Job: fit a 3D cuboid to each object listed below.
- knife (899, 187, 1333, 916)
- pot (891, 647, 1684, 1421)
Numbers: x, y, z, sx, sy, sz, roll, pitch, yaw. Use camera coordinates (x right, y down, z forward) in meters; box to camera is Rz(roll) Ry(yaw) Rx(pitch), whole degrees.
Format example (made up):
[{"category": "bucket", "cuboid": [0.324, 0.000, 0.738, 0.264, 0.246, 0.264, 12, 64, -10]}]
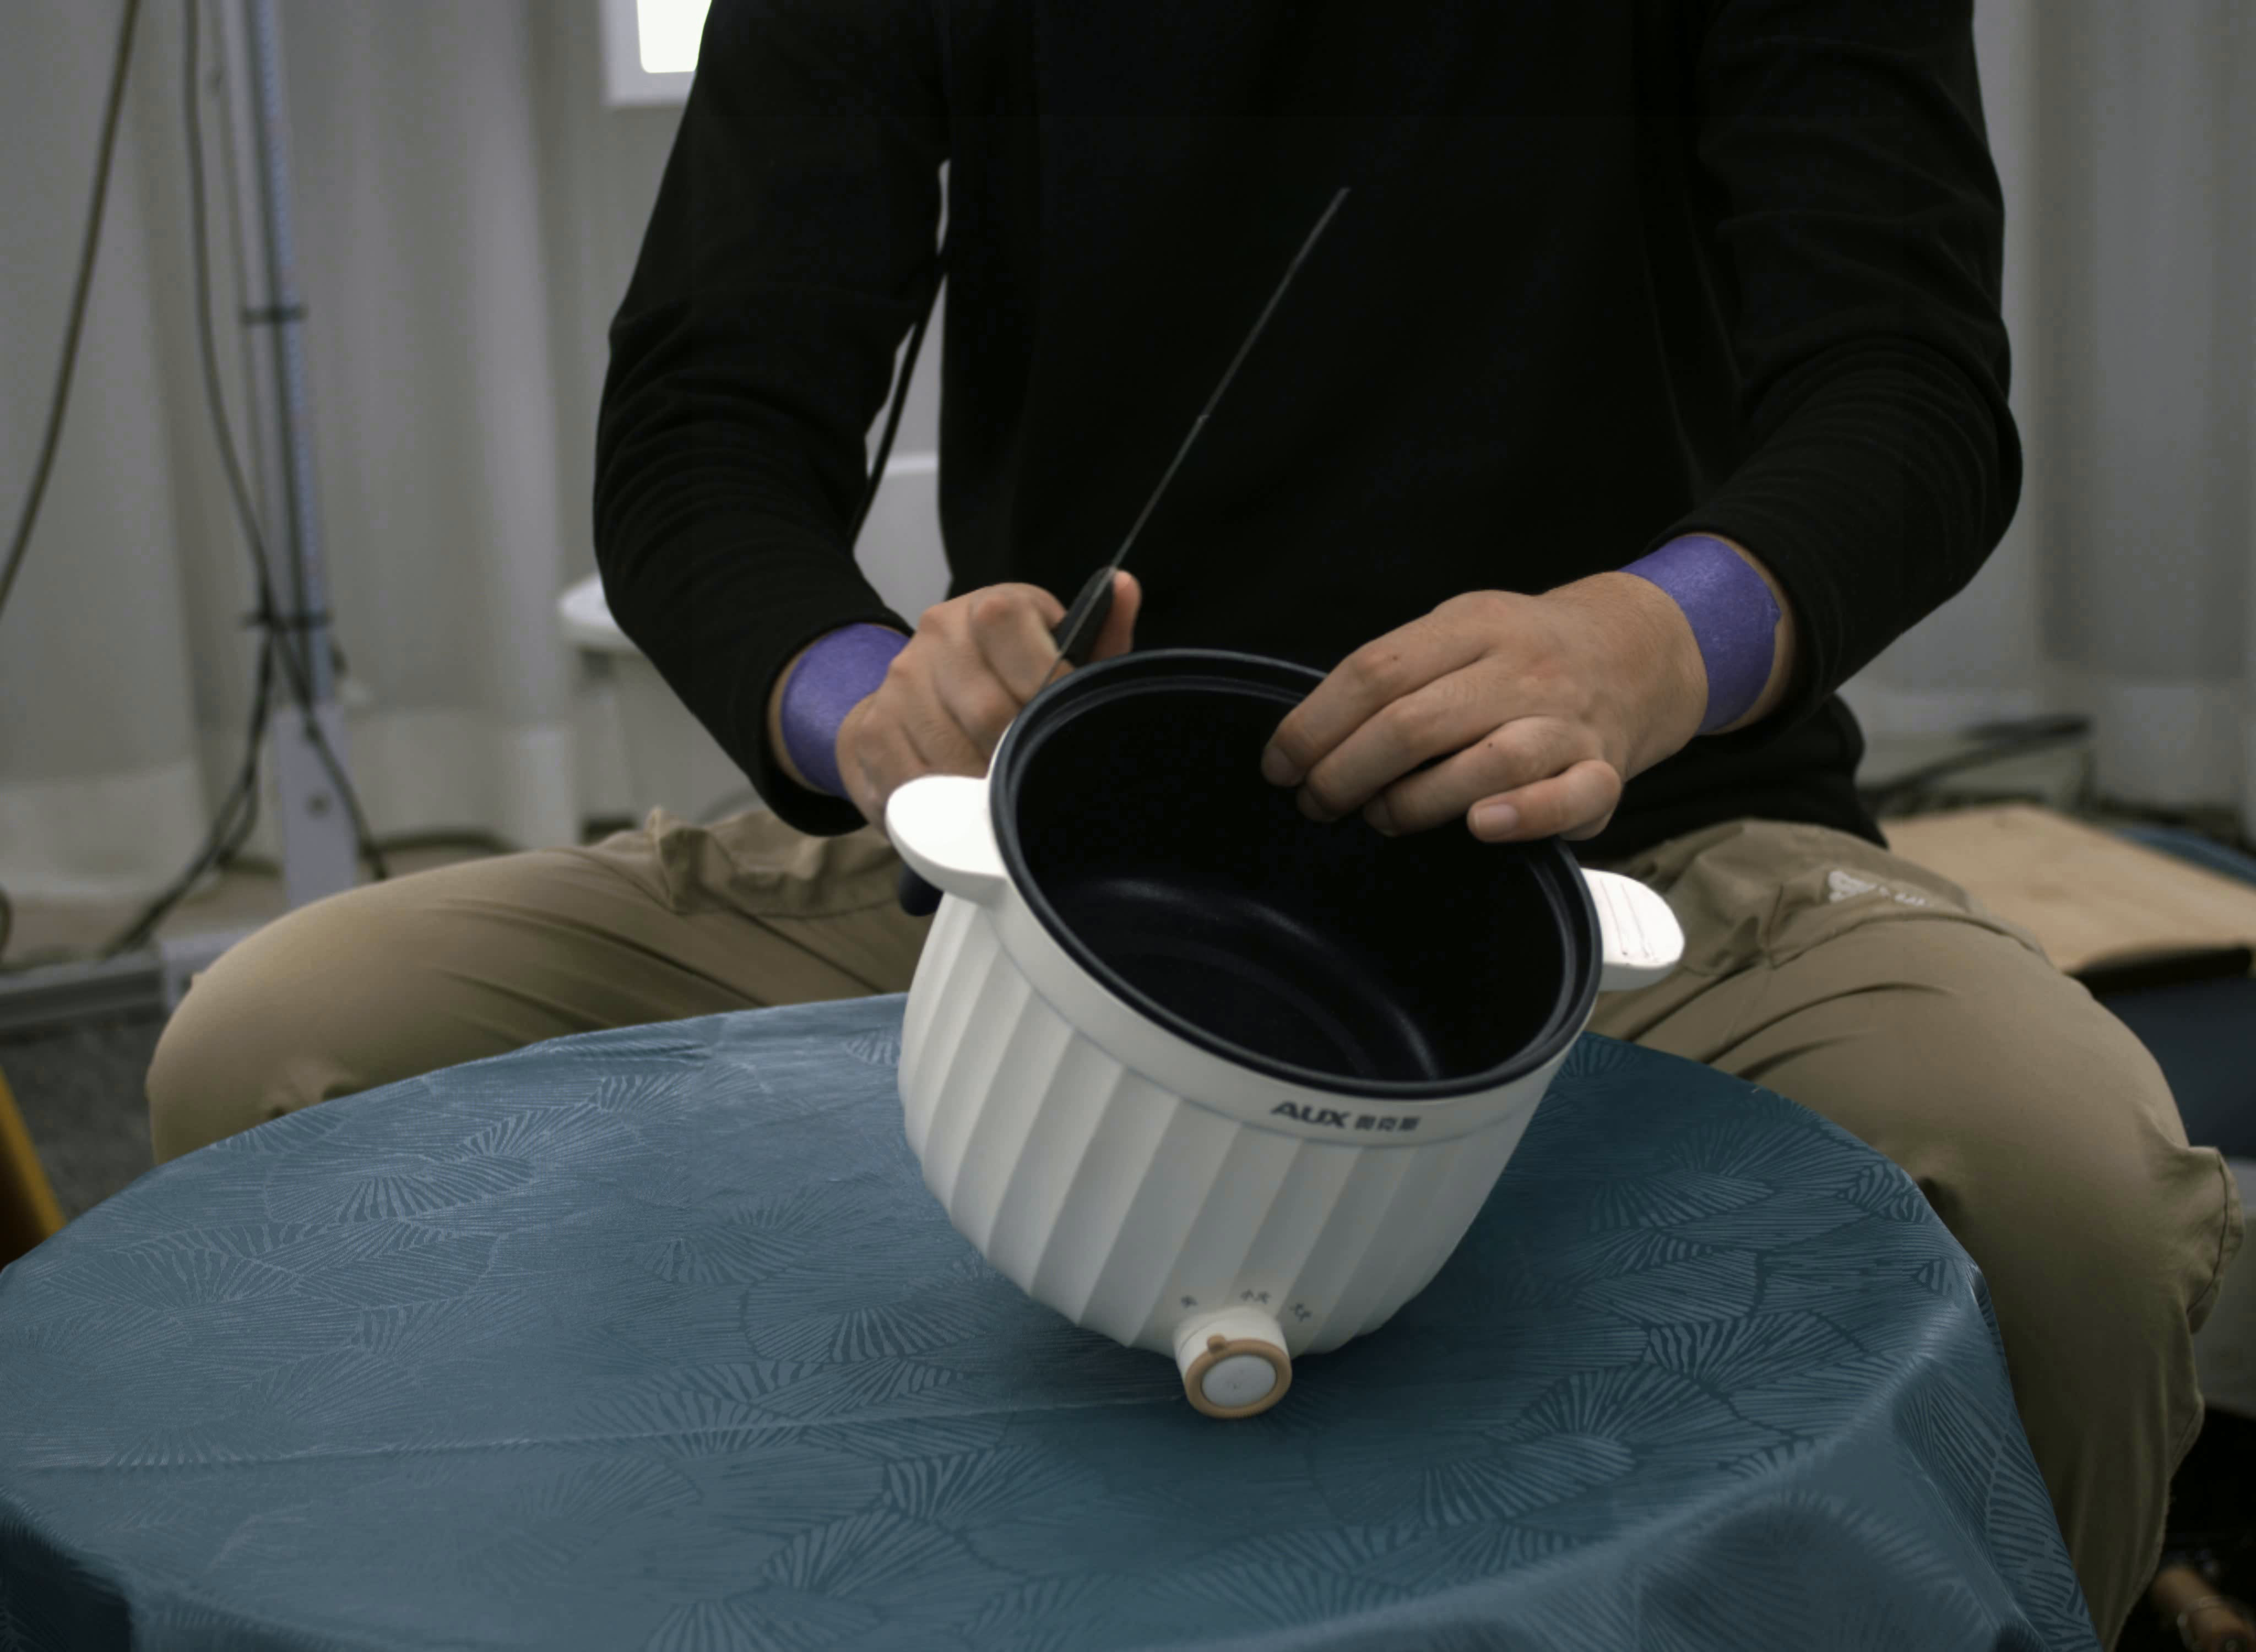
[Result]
[{"category": "knife", "cuboid": [-0.008, -0.073, 1.659, 0.021, 0.299, 0.082, 32, 43, 1]}, {"category": "pot", "cuboid": [0.030, 0.062, 1.558, 0.239, 0.141, 0.193, 8, 36, -18]}]
